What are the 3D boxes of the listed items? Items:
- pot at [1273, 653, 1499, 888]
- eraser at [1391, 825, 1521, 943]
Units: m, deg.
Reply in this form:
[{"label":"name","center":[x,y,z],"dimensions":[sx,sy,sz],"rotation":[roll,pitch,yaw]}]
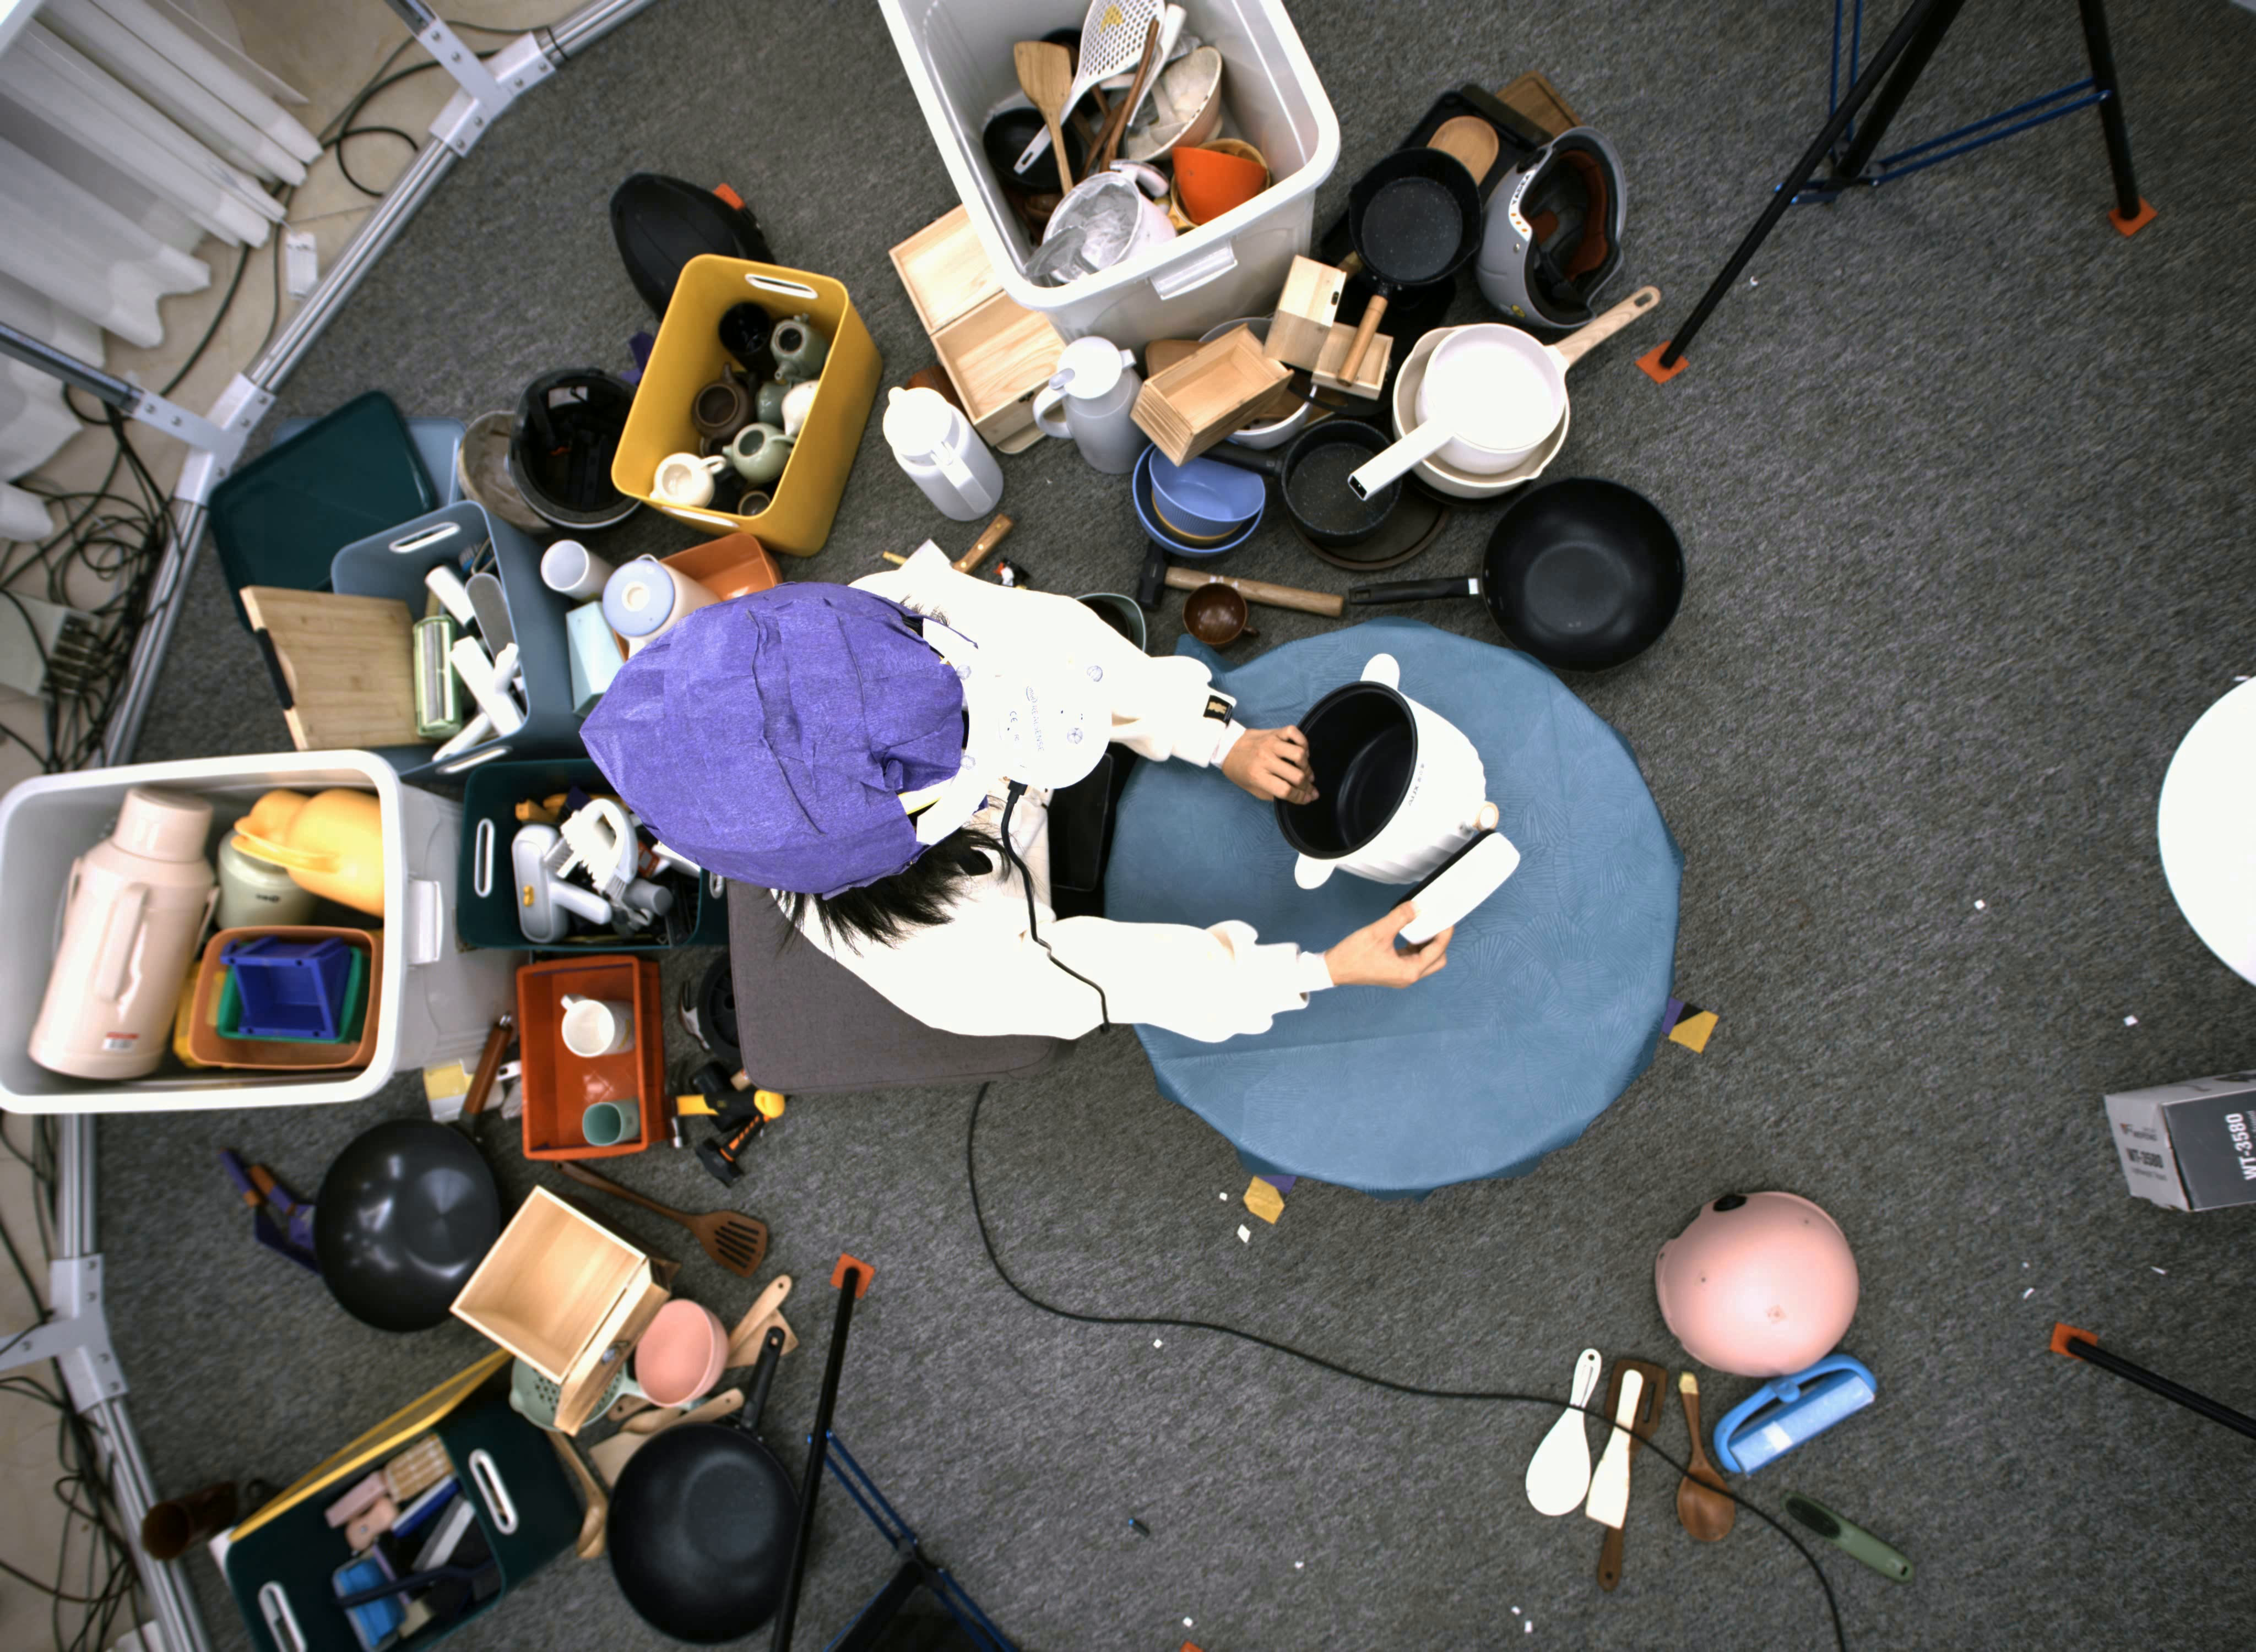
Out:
[{"label":"pot","center":[0.258,-0.037,1.357],"dimensions":[0.143,0.190,0.240],"rotation":[18,89,-32]},{"label":"eraser","center":[0.309,0.055,1.294],"dimensions":[0.132,0.064,0.034],"rotation":[-42,50,11]}]
